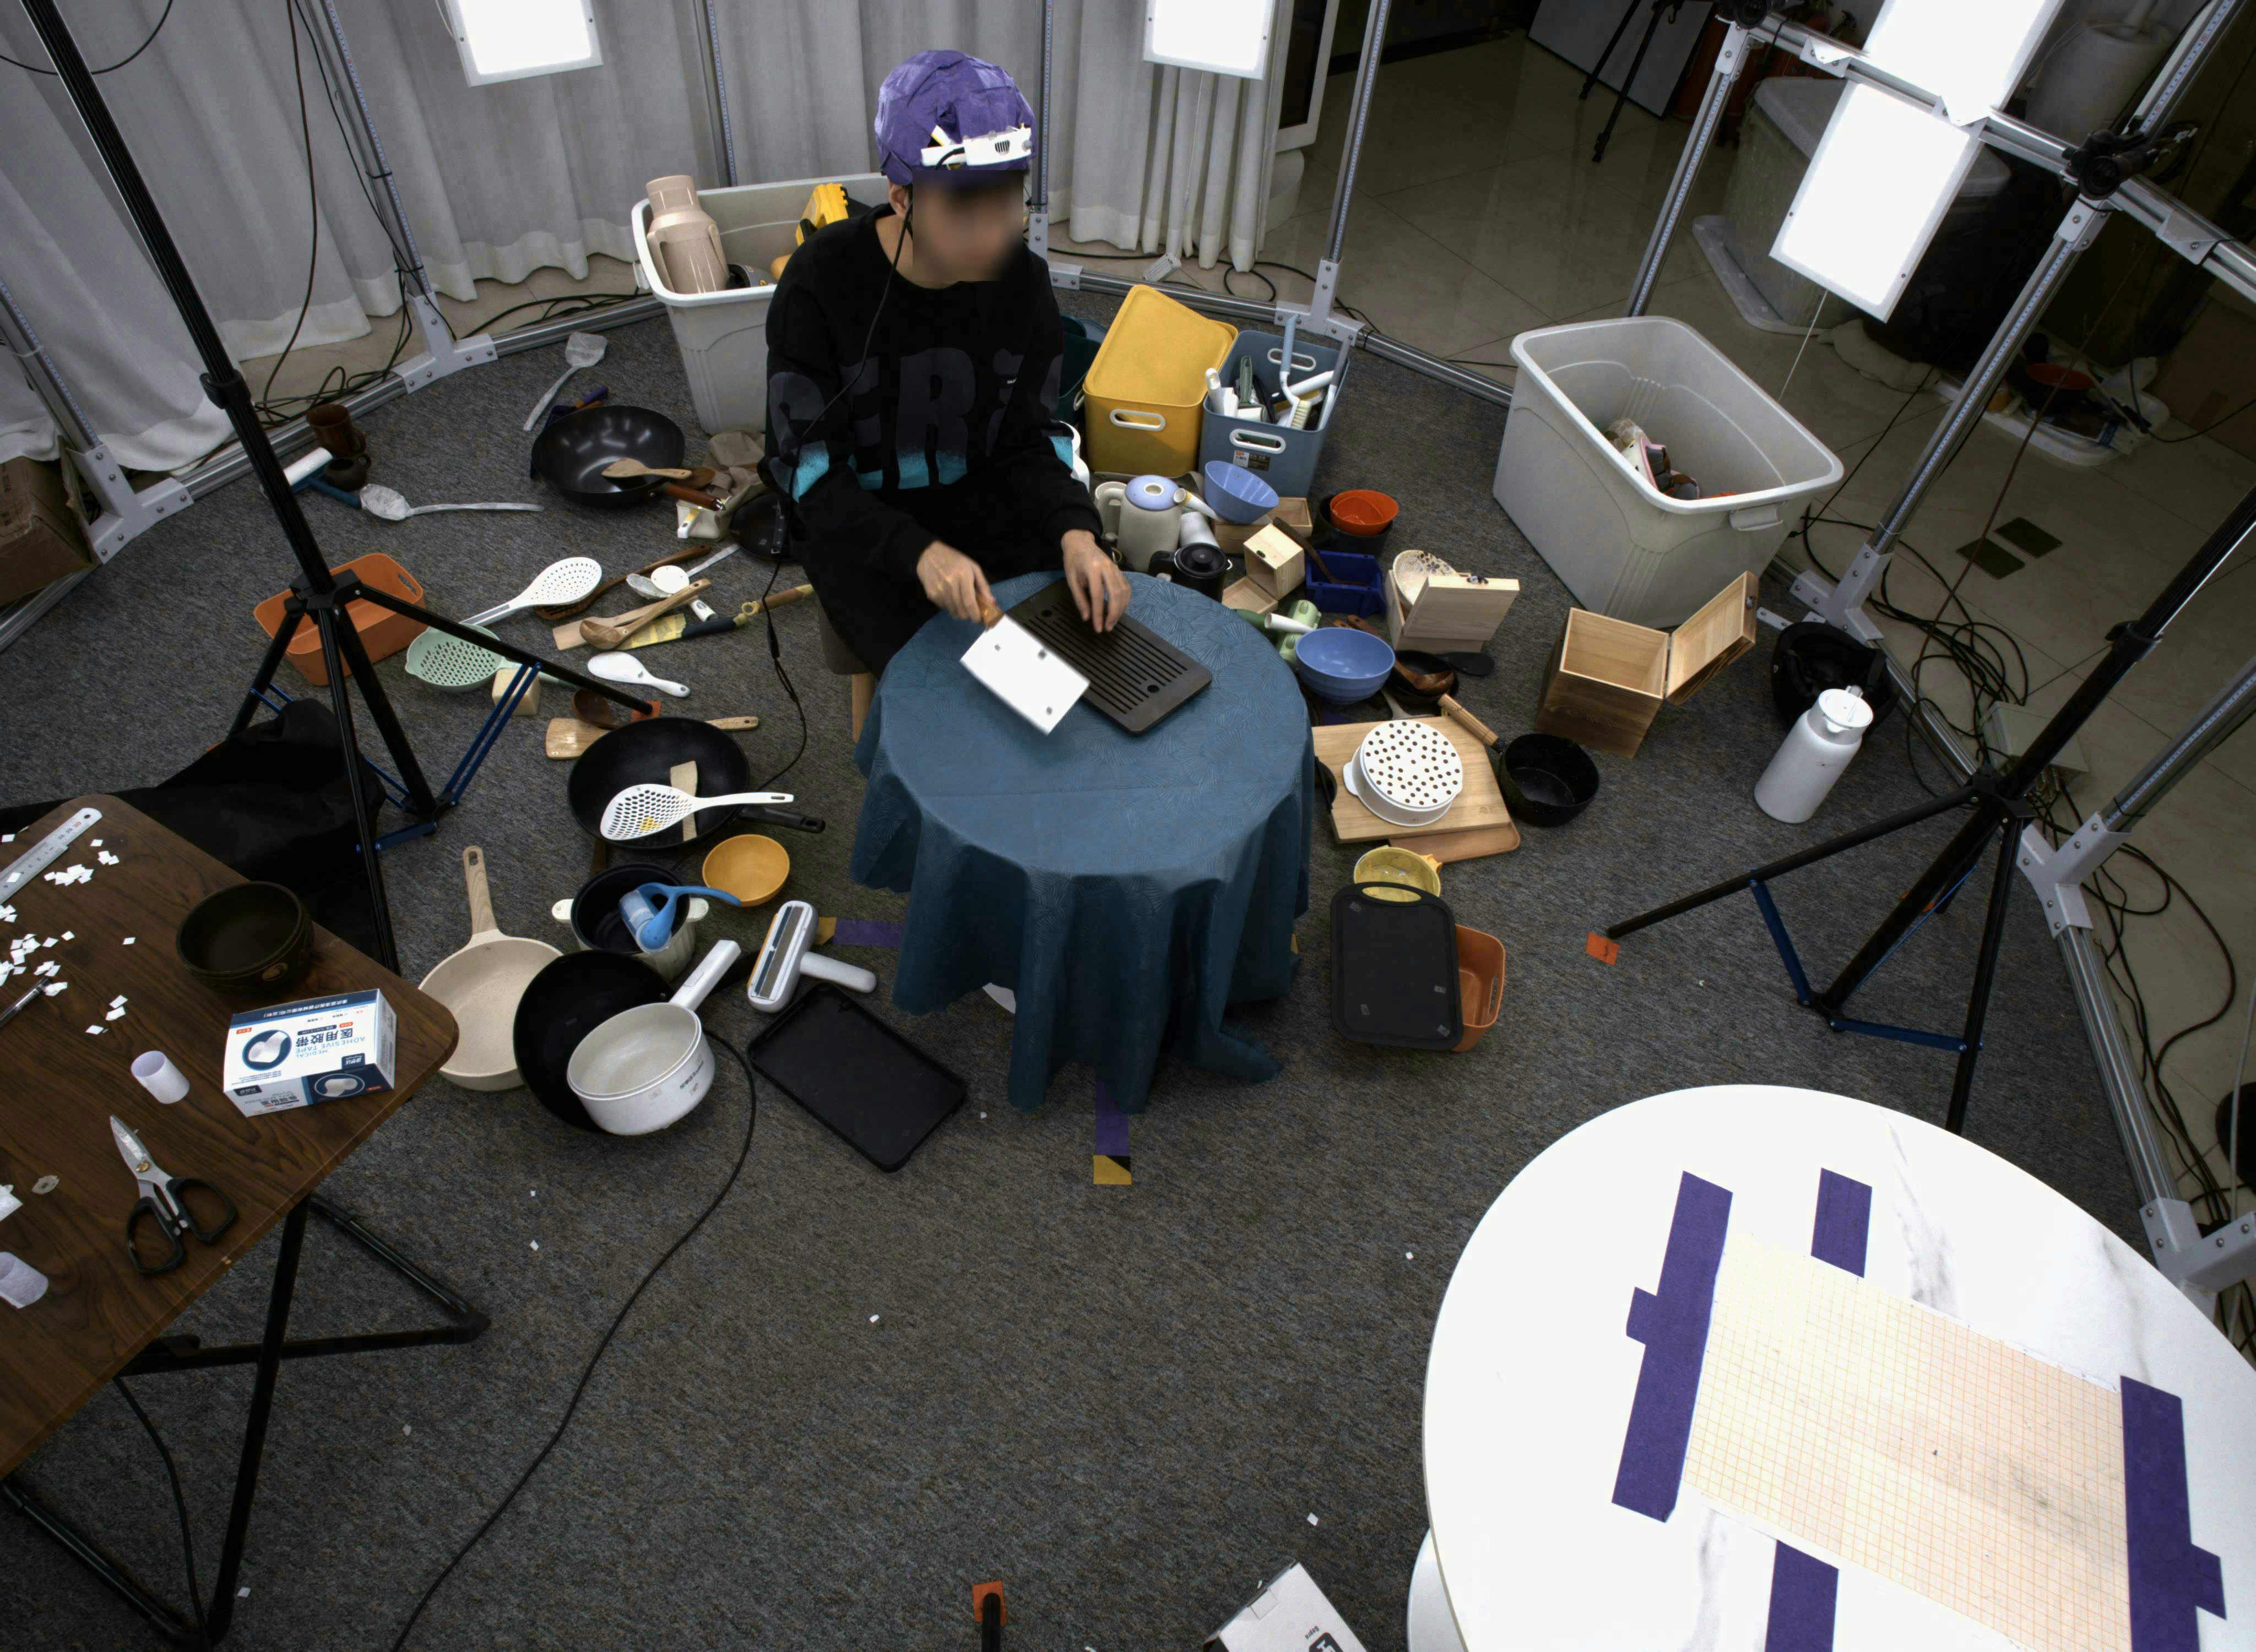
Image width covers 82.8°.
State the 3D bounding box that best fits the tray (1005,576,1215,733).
[{"bbox_3d":[-0.036,-0.253,1.875,0.310,0.018,0.171,38,57,26],"label":"tray"}]

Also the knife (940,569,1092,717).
[{"bbox_3d":[-0.174,-0.253,1.790,0.311,0.020,0.093,41,94,29],"label":"knife"}]
